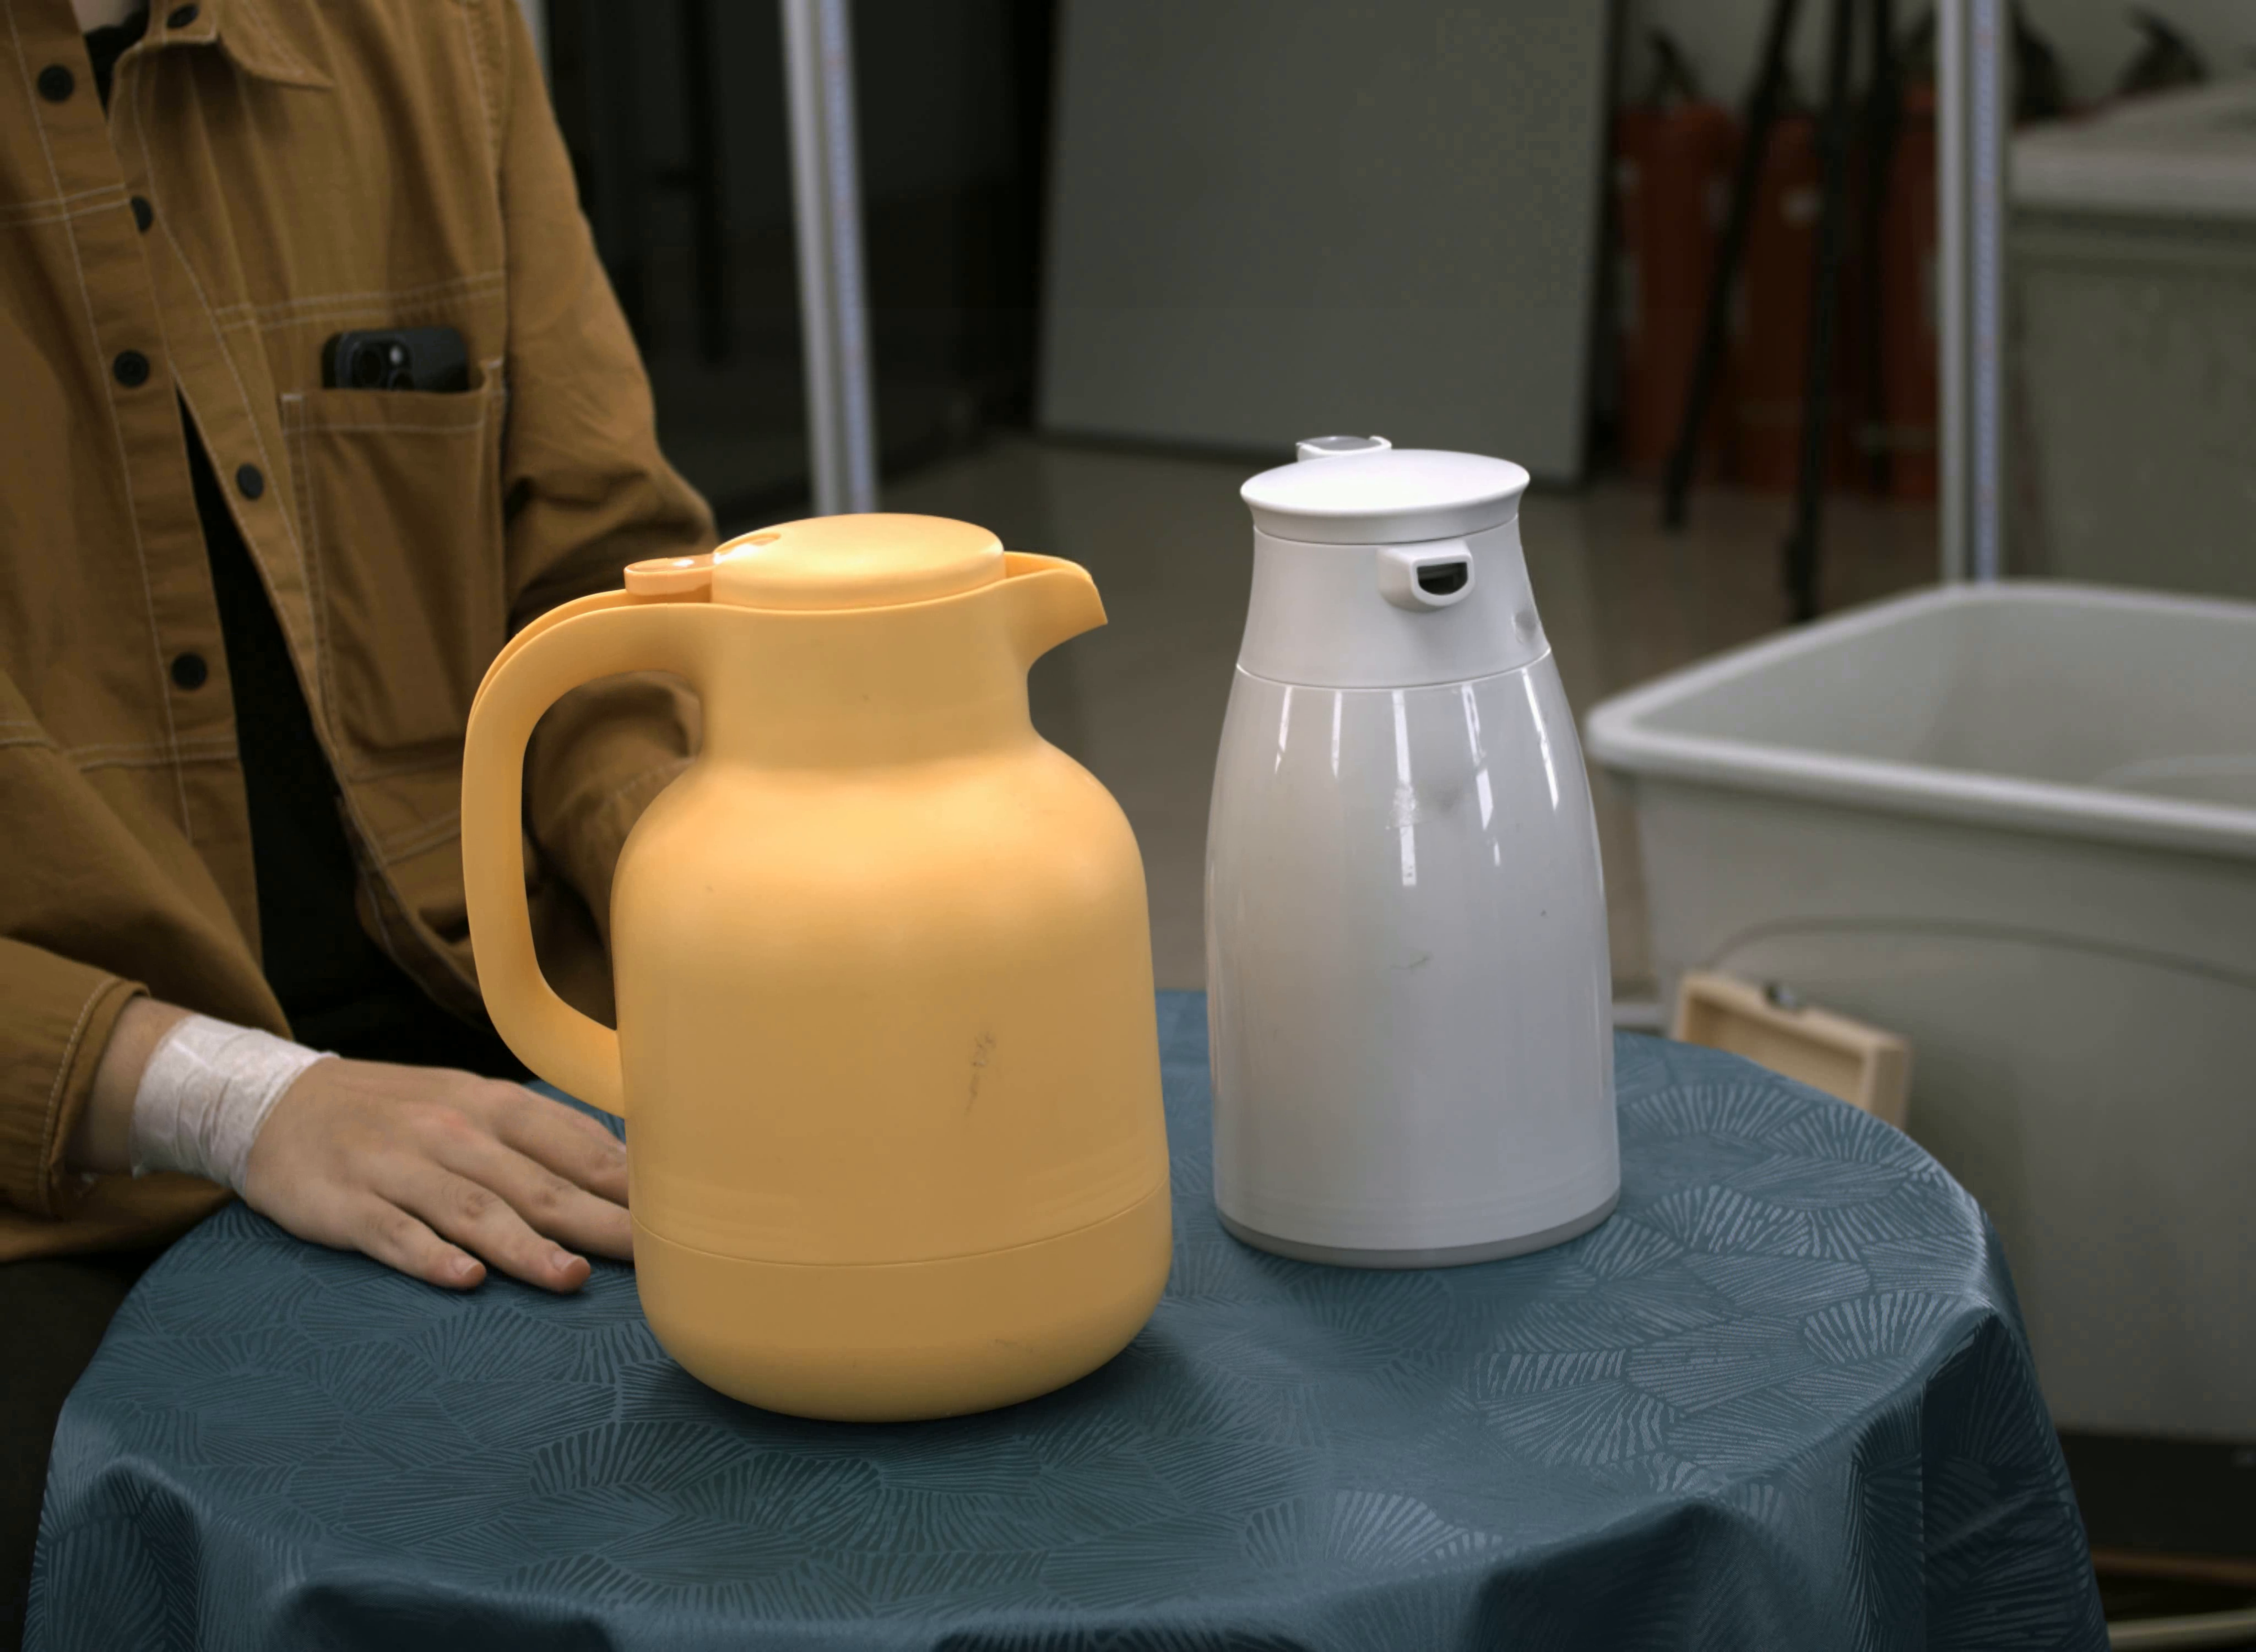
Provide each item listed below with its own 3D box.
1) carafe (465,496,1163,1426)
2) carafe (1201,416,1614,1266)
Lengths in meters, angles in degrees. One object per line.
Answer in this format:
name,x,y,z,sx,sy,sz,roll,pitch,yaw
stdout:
carafe,-0.093,0.037,1.599,0.199,0.263,0.164,-3,11,-1
carafe,0.080,-0.003,1.729,0.130,0.251,0.169,-7,13,-12
